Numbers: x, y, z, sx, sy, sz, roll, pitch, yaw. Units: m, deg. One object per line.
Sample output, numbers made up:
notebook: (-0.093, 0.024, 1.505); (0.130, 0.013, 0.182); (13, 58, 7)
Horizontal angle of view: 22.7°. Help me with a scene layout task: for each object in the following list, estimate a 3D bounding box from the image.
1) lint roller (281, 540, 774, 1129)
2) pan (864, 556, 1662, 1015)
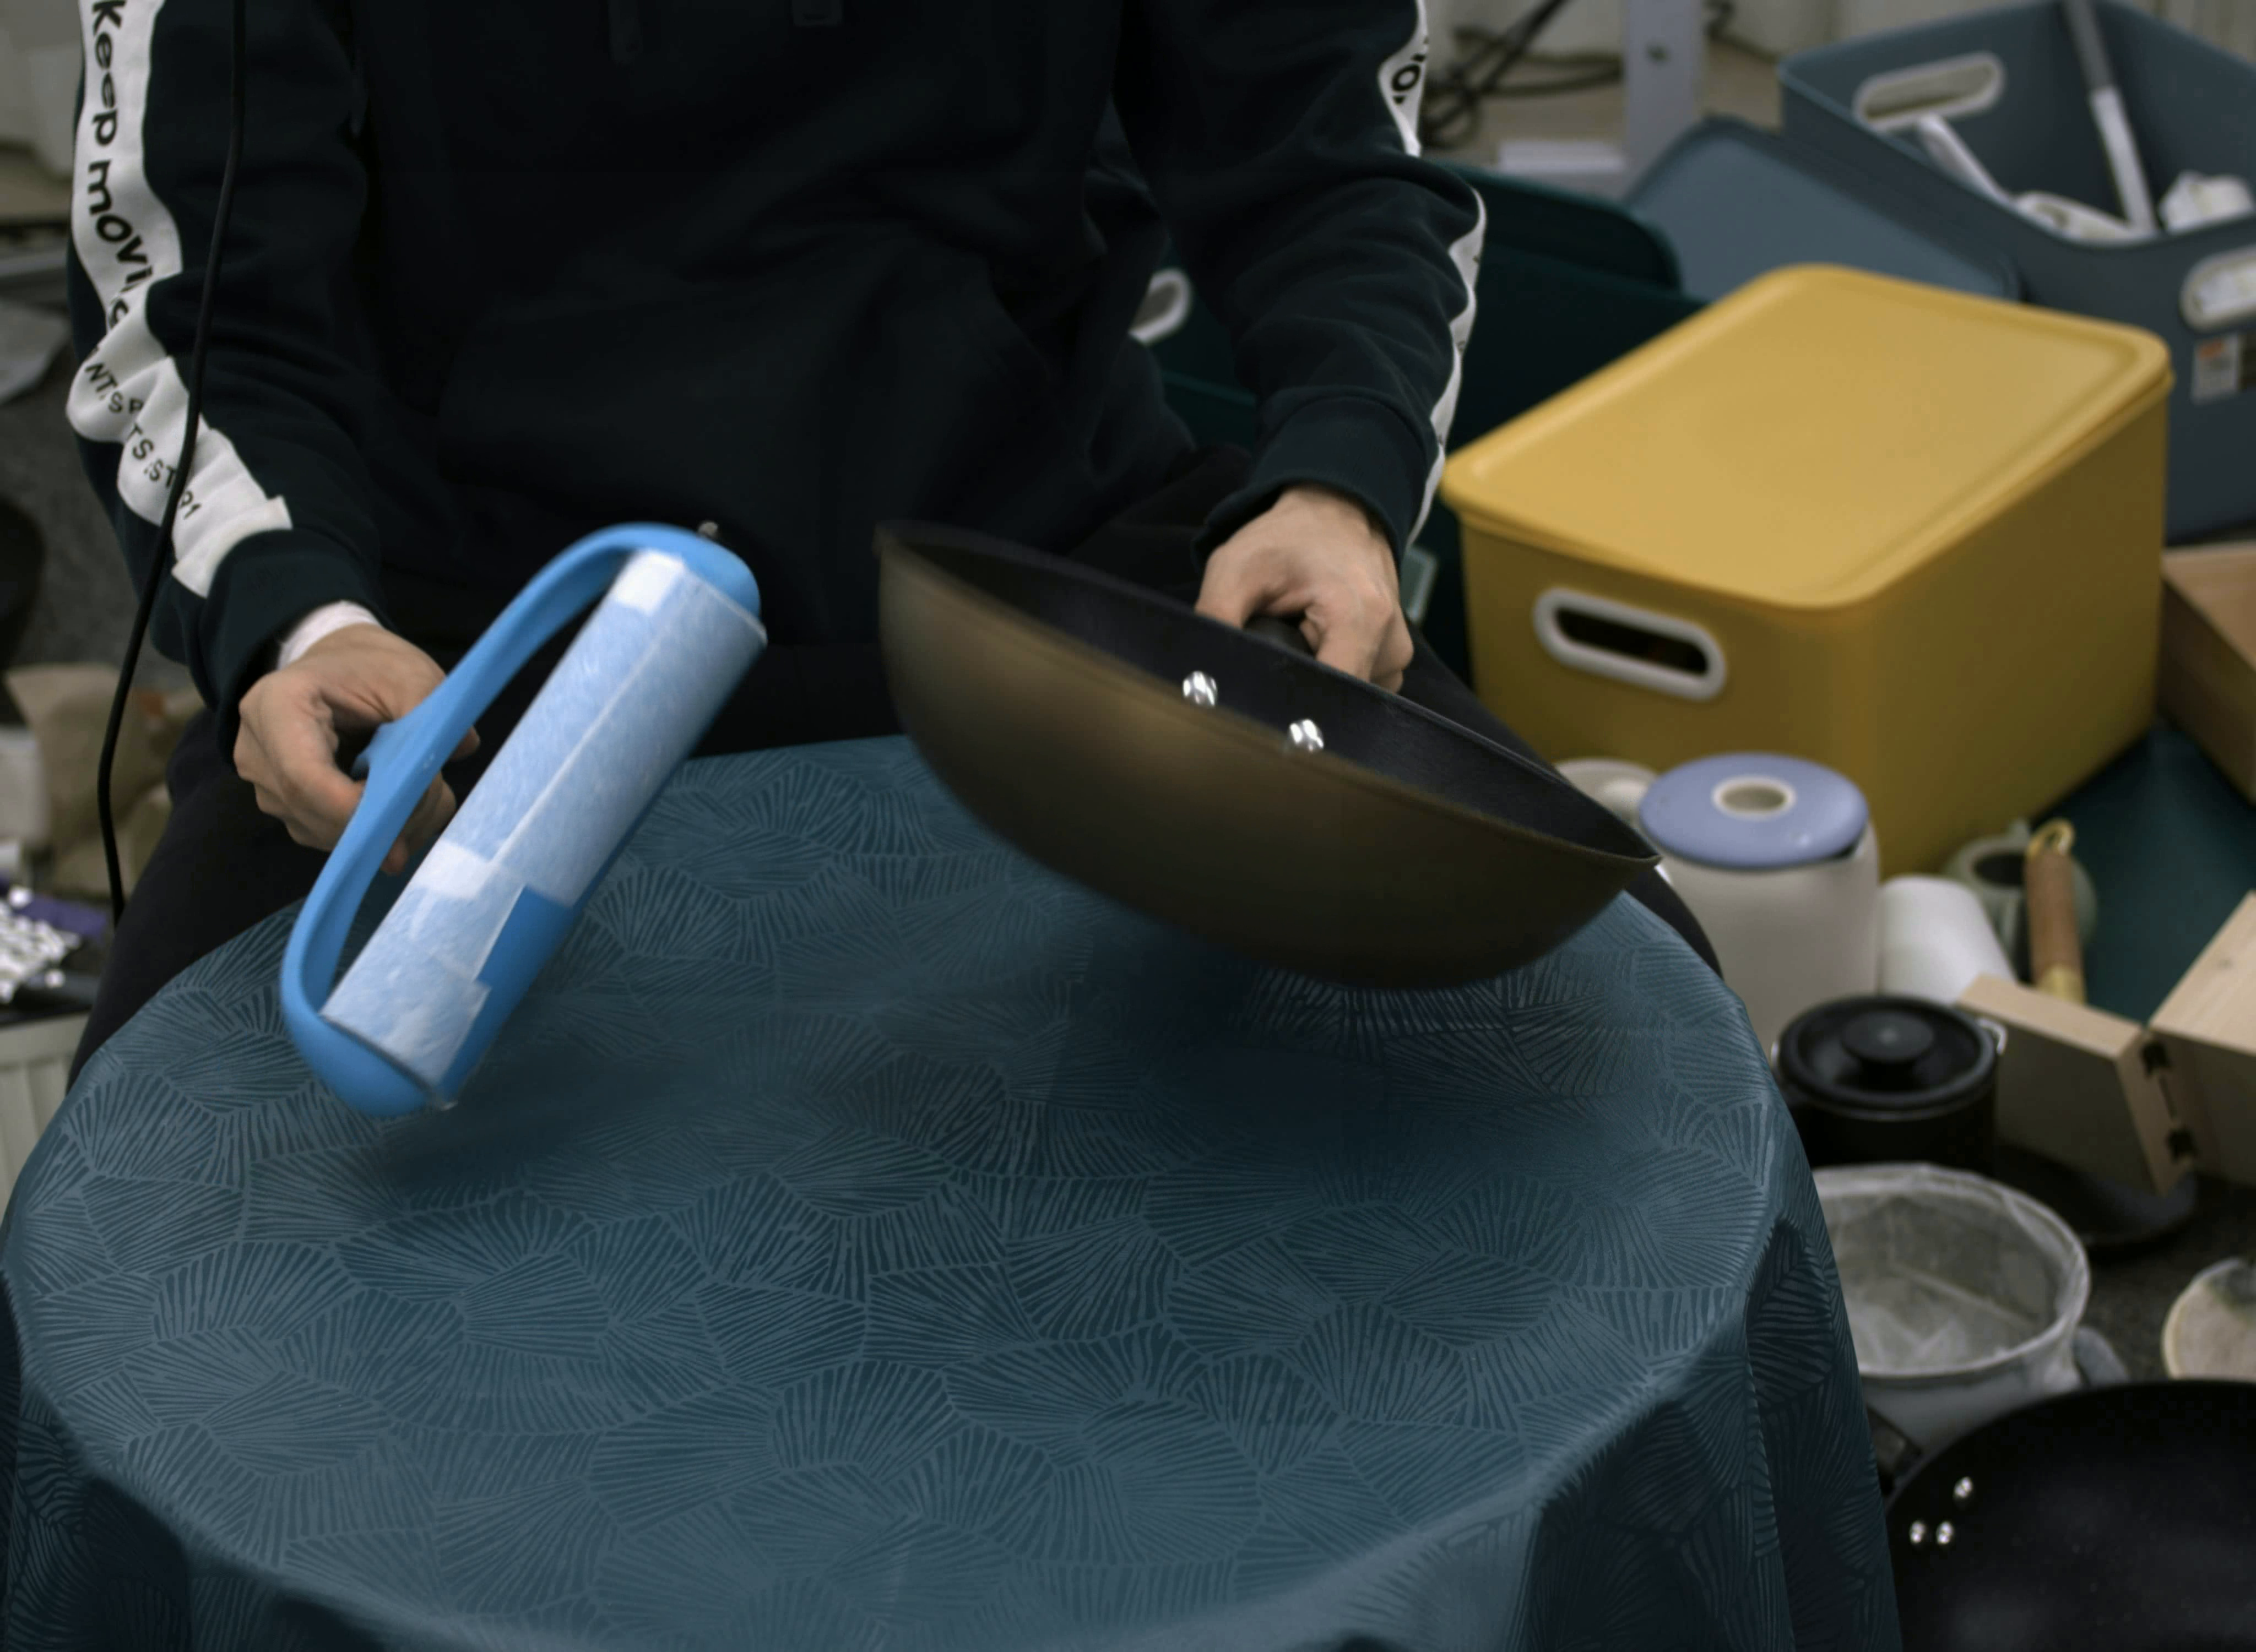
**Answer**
lint roller: (-0.230, -0.004, 1.936); (0.179, 0.067, 0.231); (12, 64, 53)
pan: (0.039, -0.017, 1.985); (0.287, 0.087, 0.465); (21, 8, 1)
